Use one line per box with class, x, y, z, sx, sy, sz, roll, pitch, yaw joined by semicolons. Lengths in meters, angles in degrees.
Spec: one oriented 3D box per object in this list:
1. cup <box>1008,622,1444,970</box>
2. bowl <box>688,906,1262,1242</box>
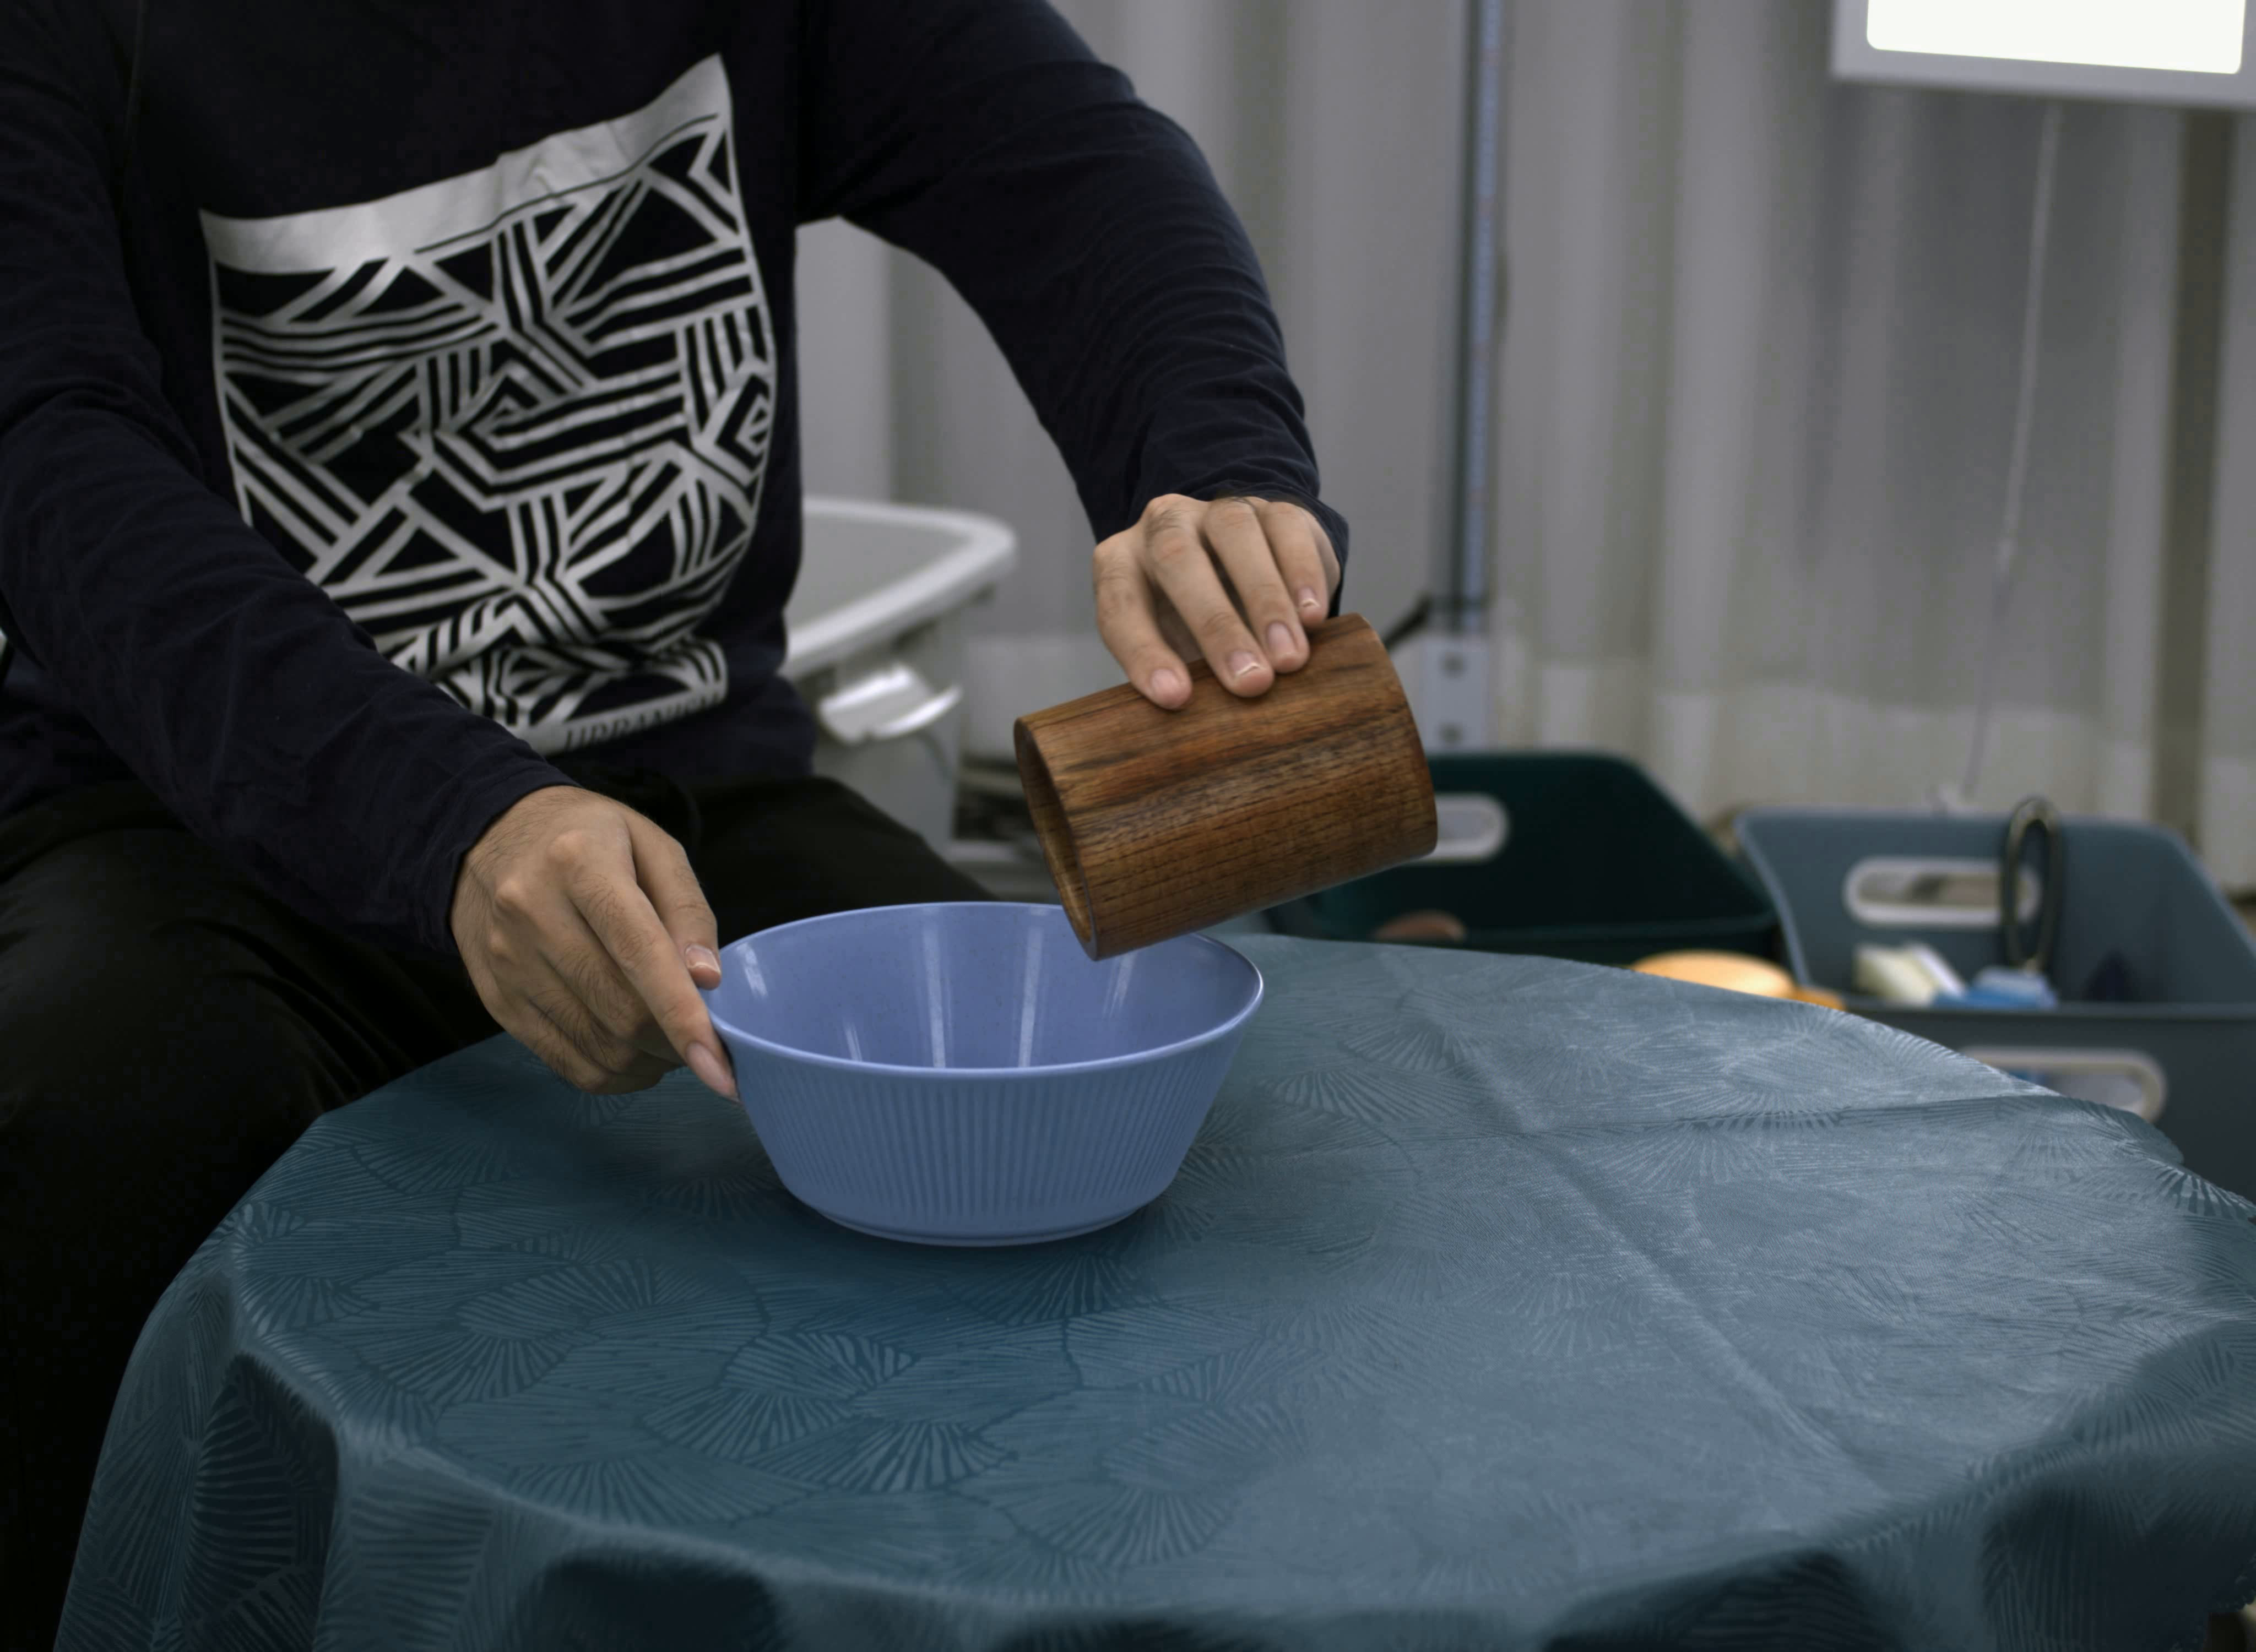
cup;0.030;-0.009;1.616;0.118;0.088;0.087;-15;18;-7
bowl;-0.047;0.078;1.615;0.175;0.071;0.175;1;15;0
